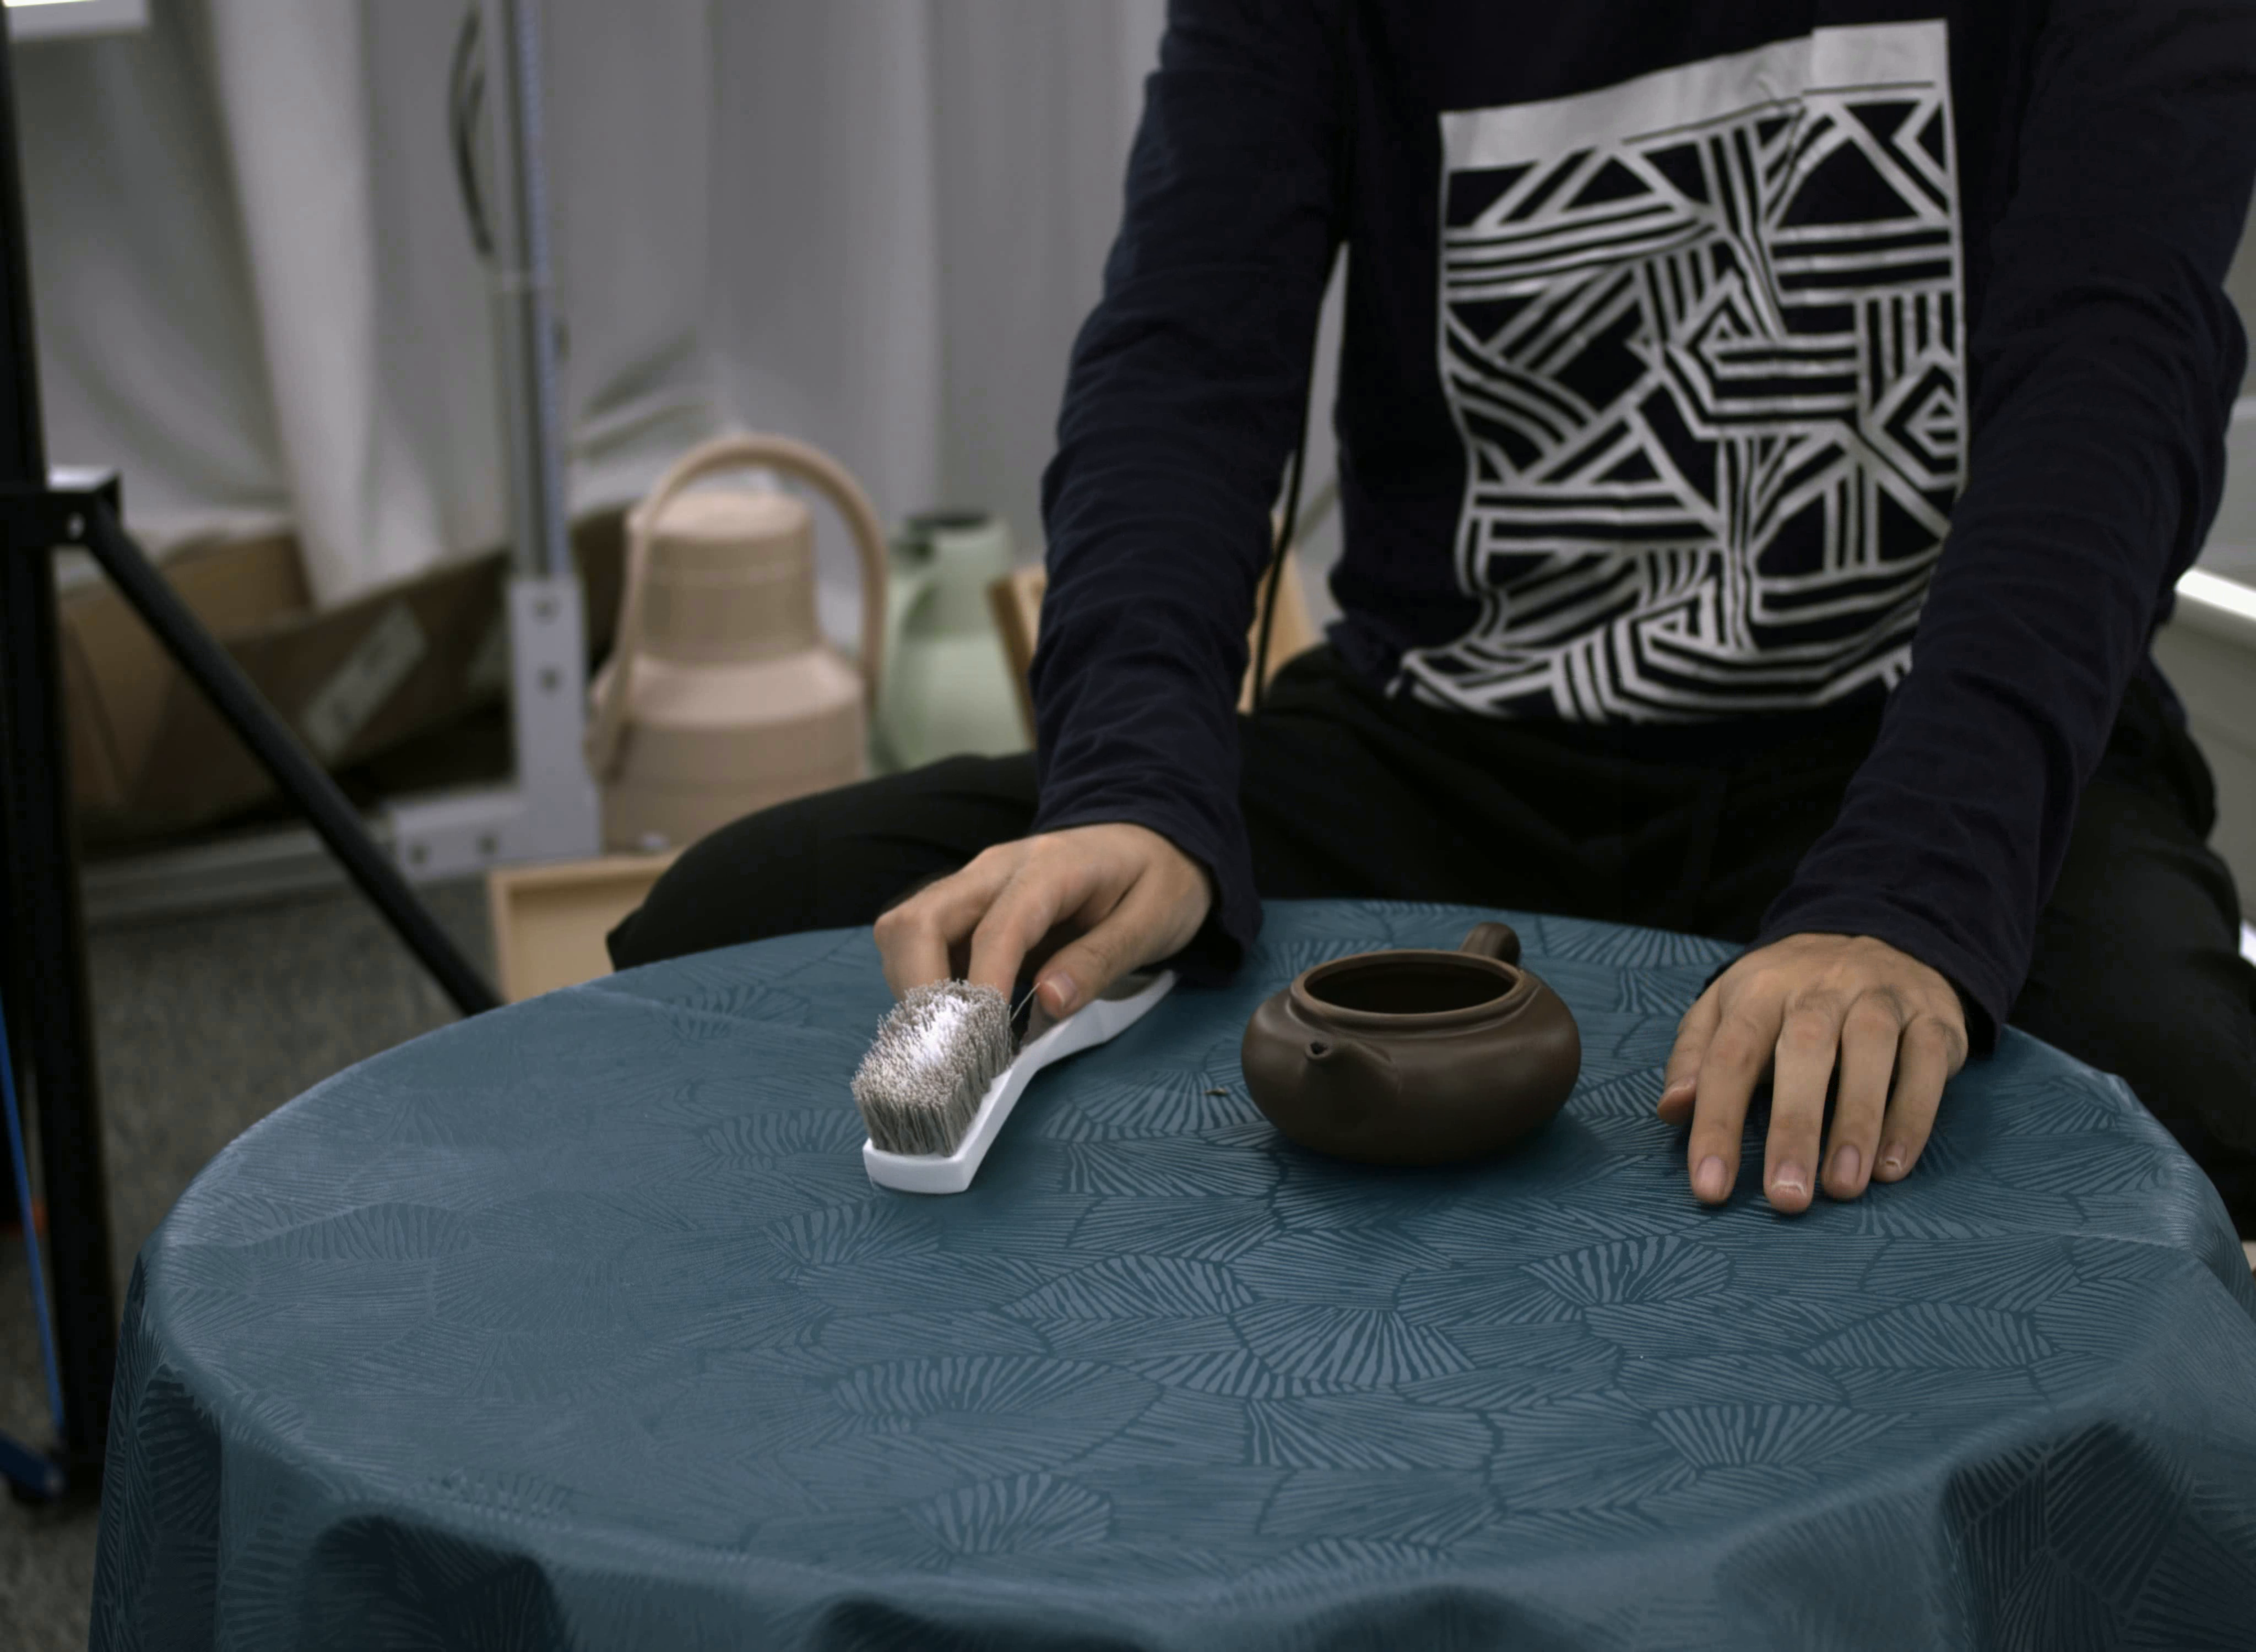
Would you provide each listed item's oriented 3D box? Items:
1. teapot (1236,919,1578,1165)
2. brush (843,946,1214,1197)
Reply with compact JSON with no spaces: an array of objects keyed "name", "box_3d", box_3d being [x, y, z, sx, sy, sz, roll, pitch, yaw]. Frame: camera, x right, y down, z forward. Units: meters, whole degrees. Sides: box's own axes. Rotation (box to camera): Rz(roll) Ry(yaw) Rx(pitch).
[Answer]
[{"name":"teapot","box_3d":[0.085,0.066,1.597,0.104,0.054,0.152,4,17,19]},{"name":"brush","box_3d":[-0.026,0.057,1.660,0.035,0.050,0.240,2,16,23]}]
